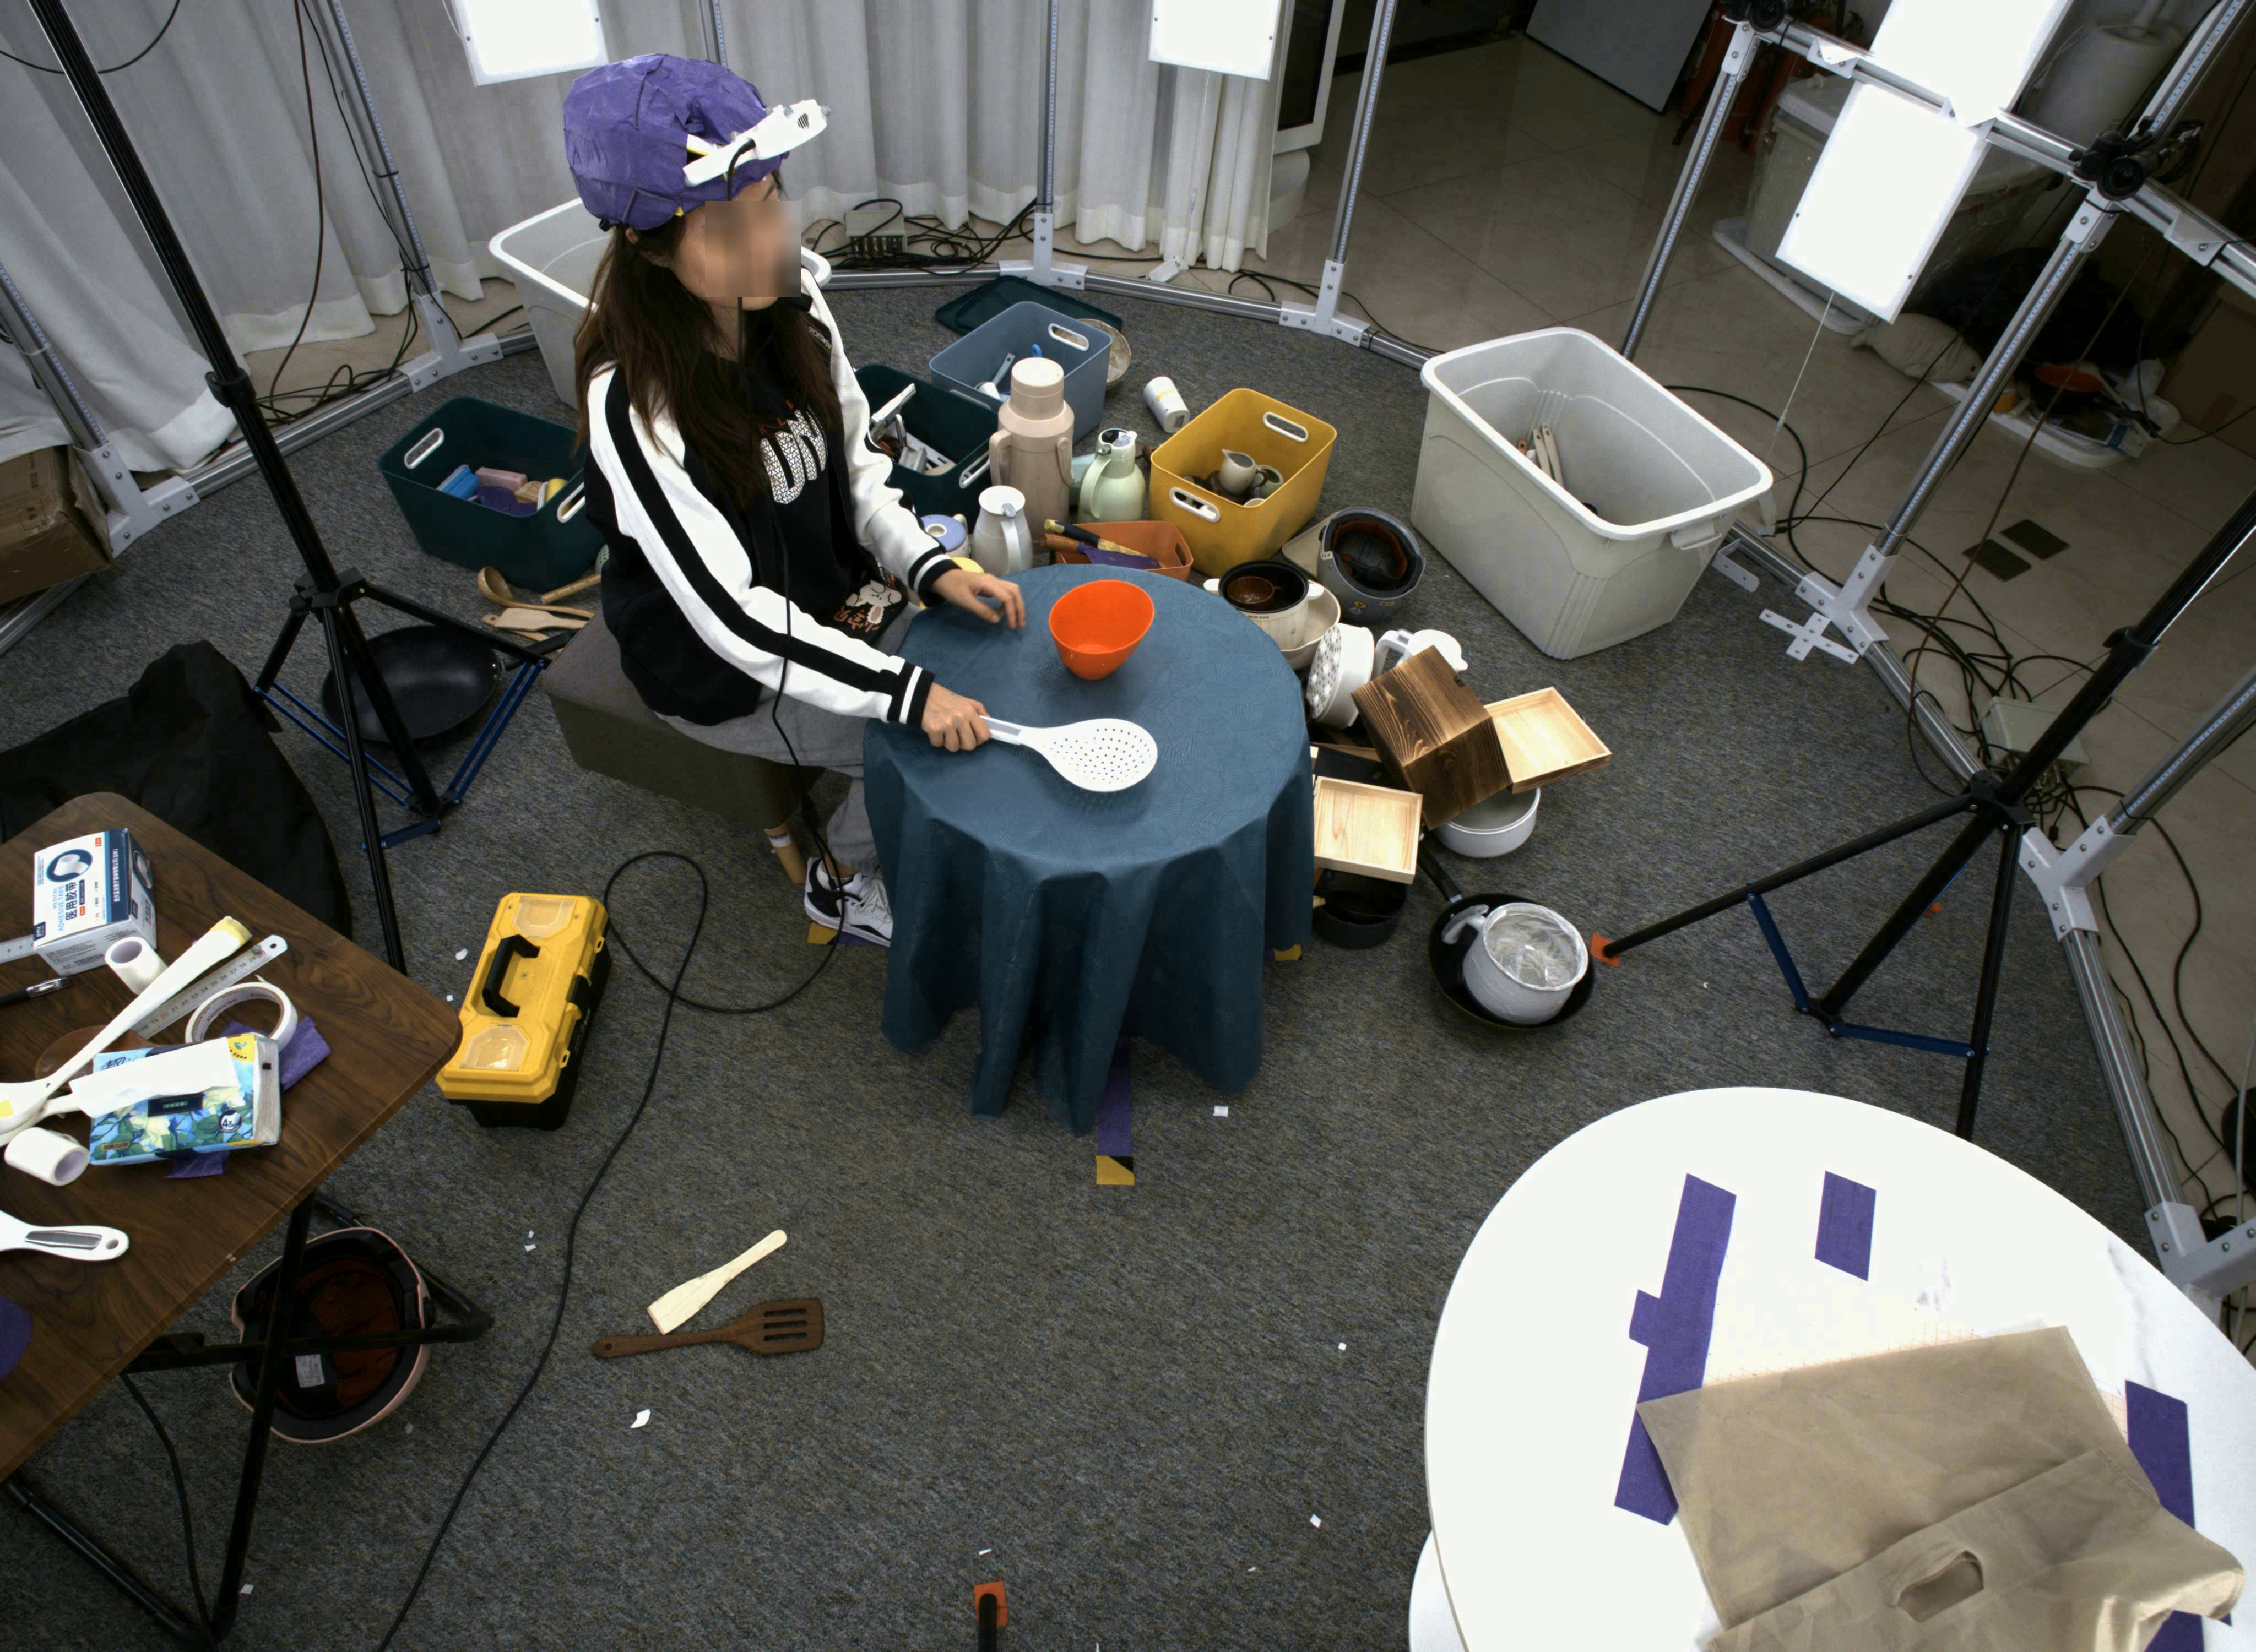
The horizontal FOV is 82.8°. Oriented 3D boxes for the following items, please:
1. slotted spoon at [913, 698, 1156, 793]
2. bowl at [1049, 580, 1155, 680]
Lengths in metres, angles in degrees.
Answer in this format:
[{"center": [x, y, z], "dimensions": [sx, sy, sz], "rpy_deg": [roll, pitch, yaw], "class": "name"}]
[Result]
[{"center": [-0.131, -0.119, 1.735], "dimensions": [0.351, 0.044, 0.138], "rpy_deg": [19, 48, 13], "class": "slotted spoon"}, {"center": [-0.038, -0.269, 1.834], "dimensions": [0.148, 0.102, 0.151], "rpy_deg": [2, 52, -2], "class": "bowl"}]
